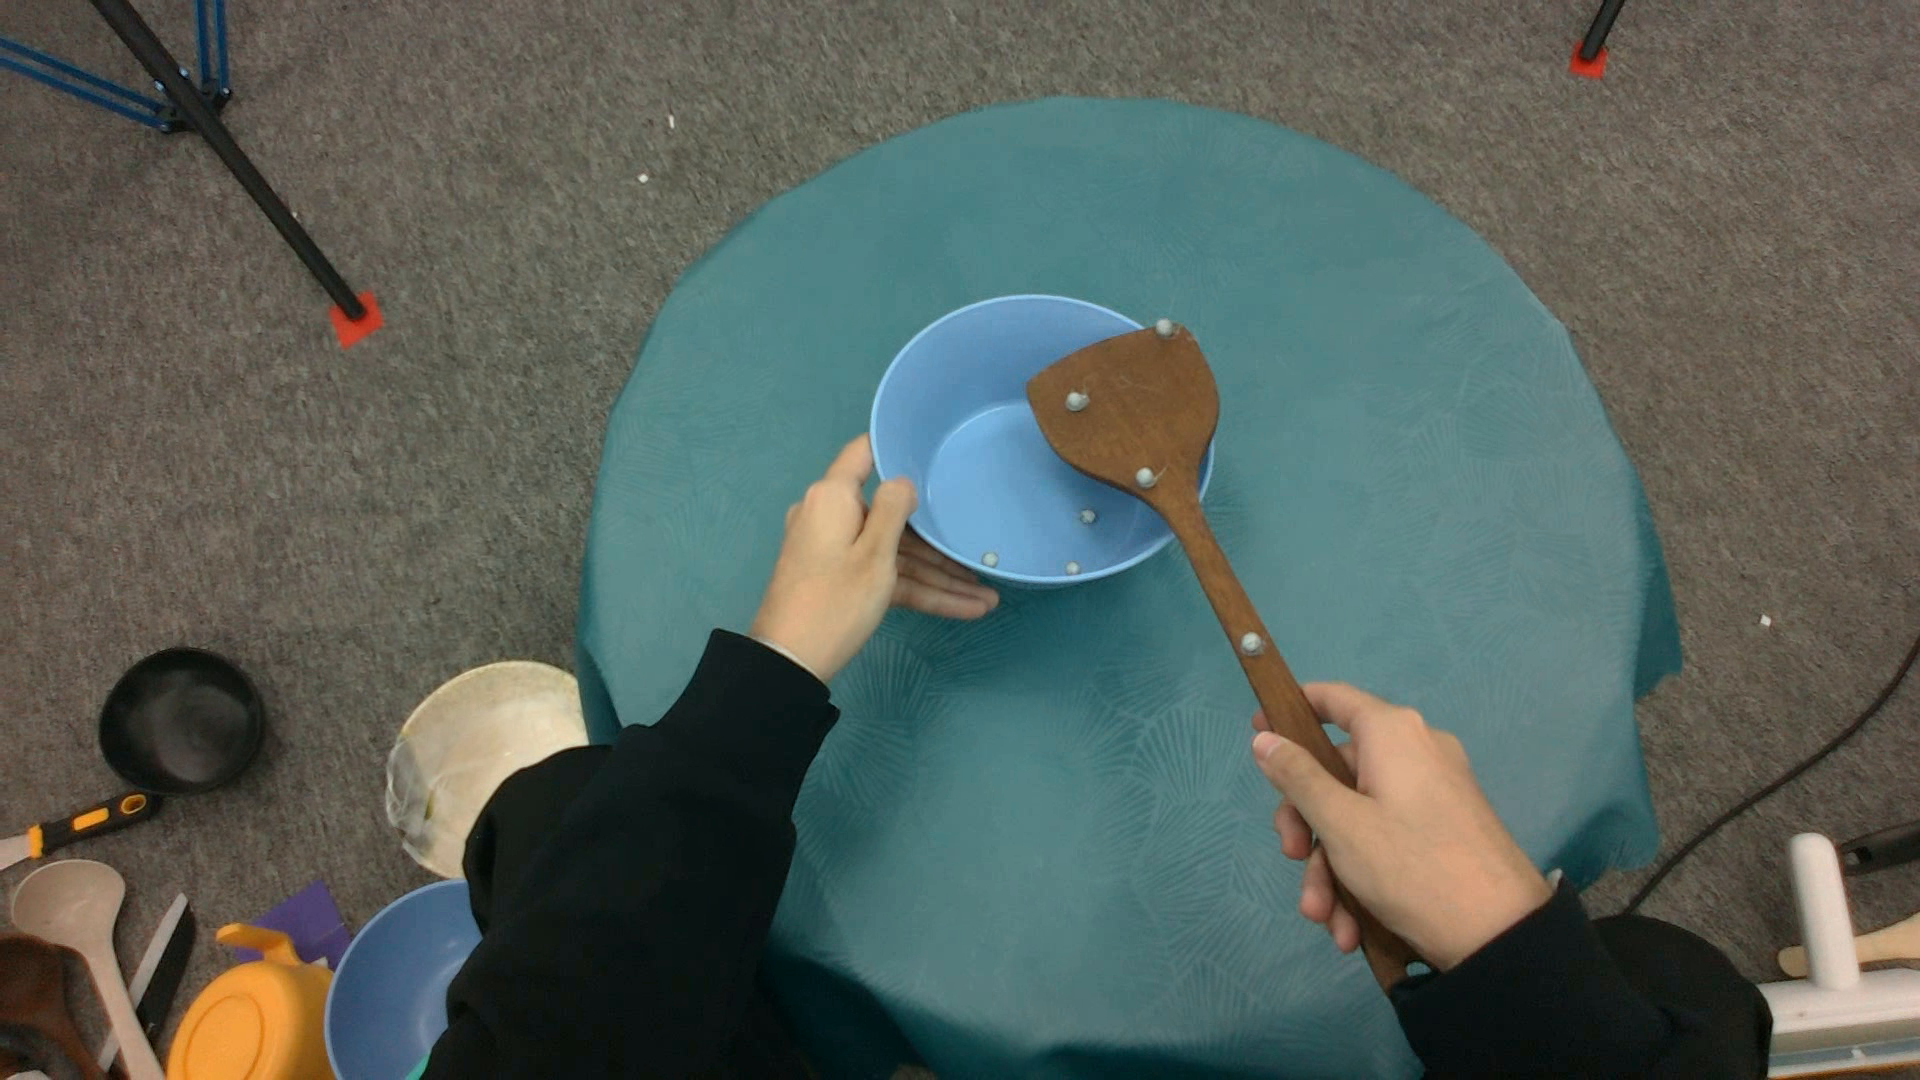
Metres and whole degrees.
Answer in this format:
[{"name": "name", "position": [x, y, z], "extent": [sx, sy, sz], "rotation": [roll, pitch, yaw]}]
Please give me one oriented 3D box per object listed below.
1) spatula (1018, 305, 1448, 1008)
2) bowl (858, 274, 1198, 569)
[{"name": "spatula", "position": [0.119, 0.025, 0.615], "extent": [0.096, 0.016, 0.387], "rotation": [-21, 49, 1]}, {"name": "bowl", "position": [0.034, -0.051, 0.731], "extent": [0.176, 0.070, 0.177], "rotation": [1, 63, -3]}]
